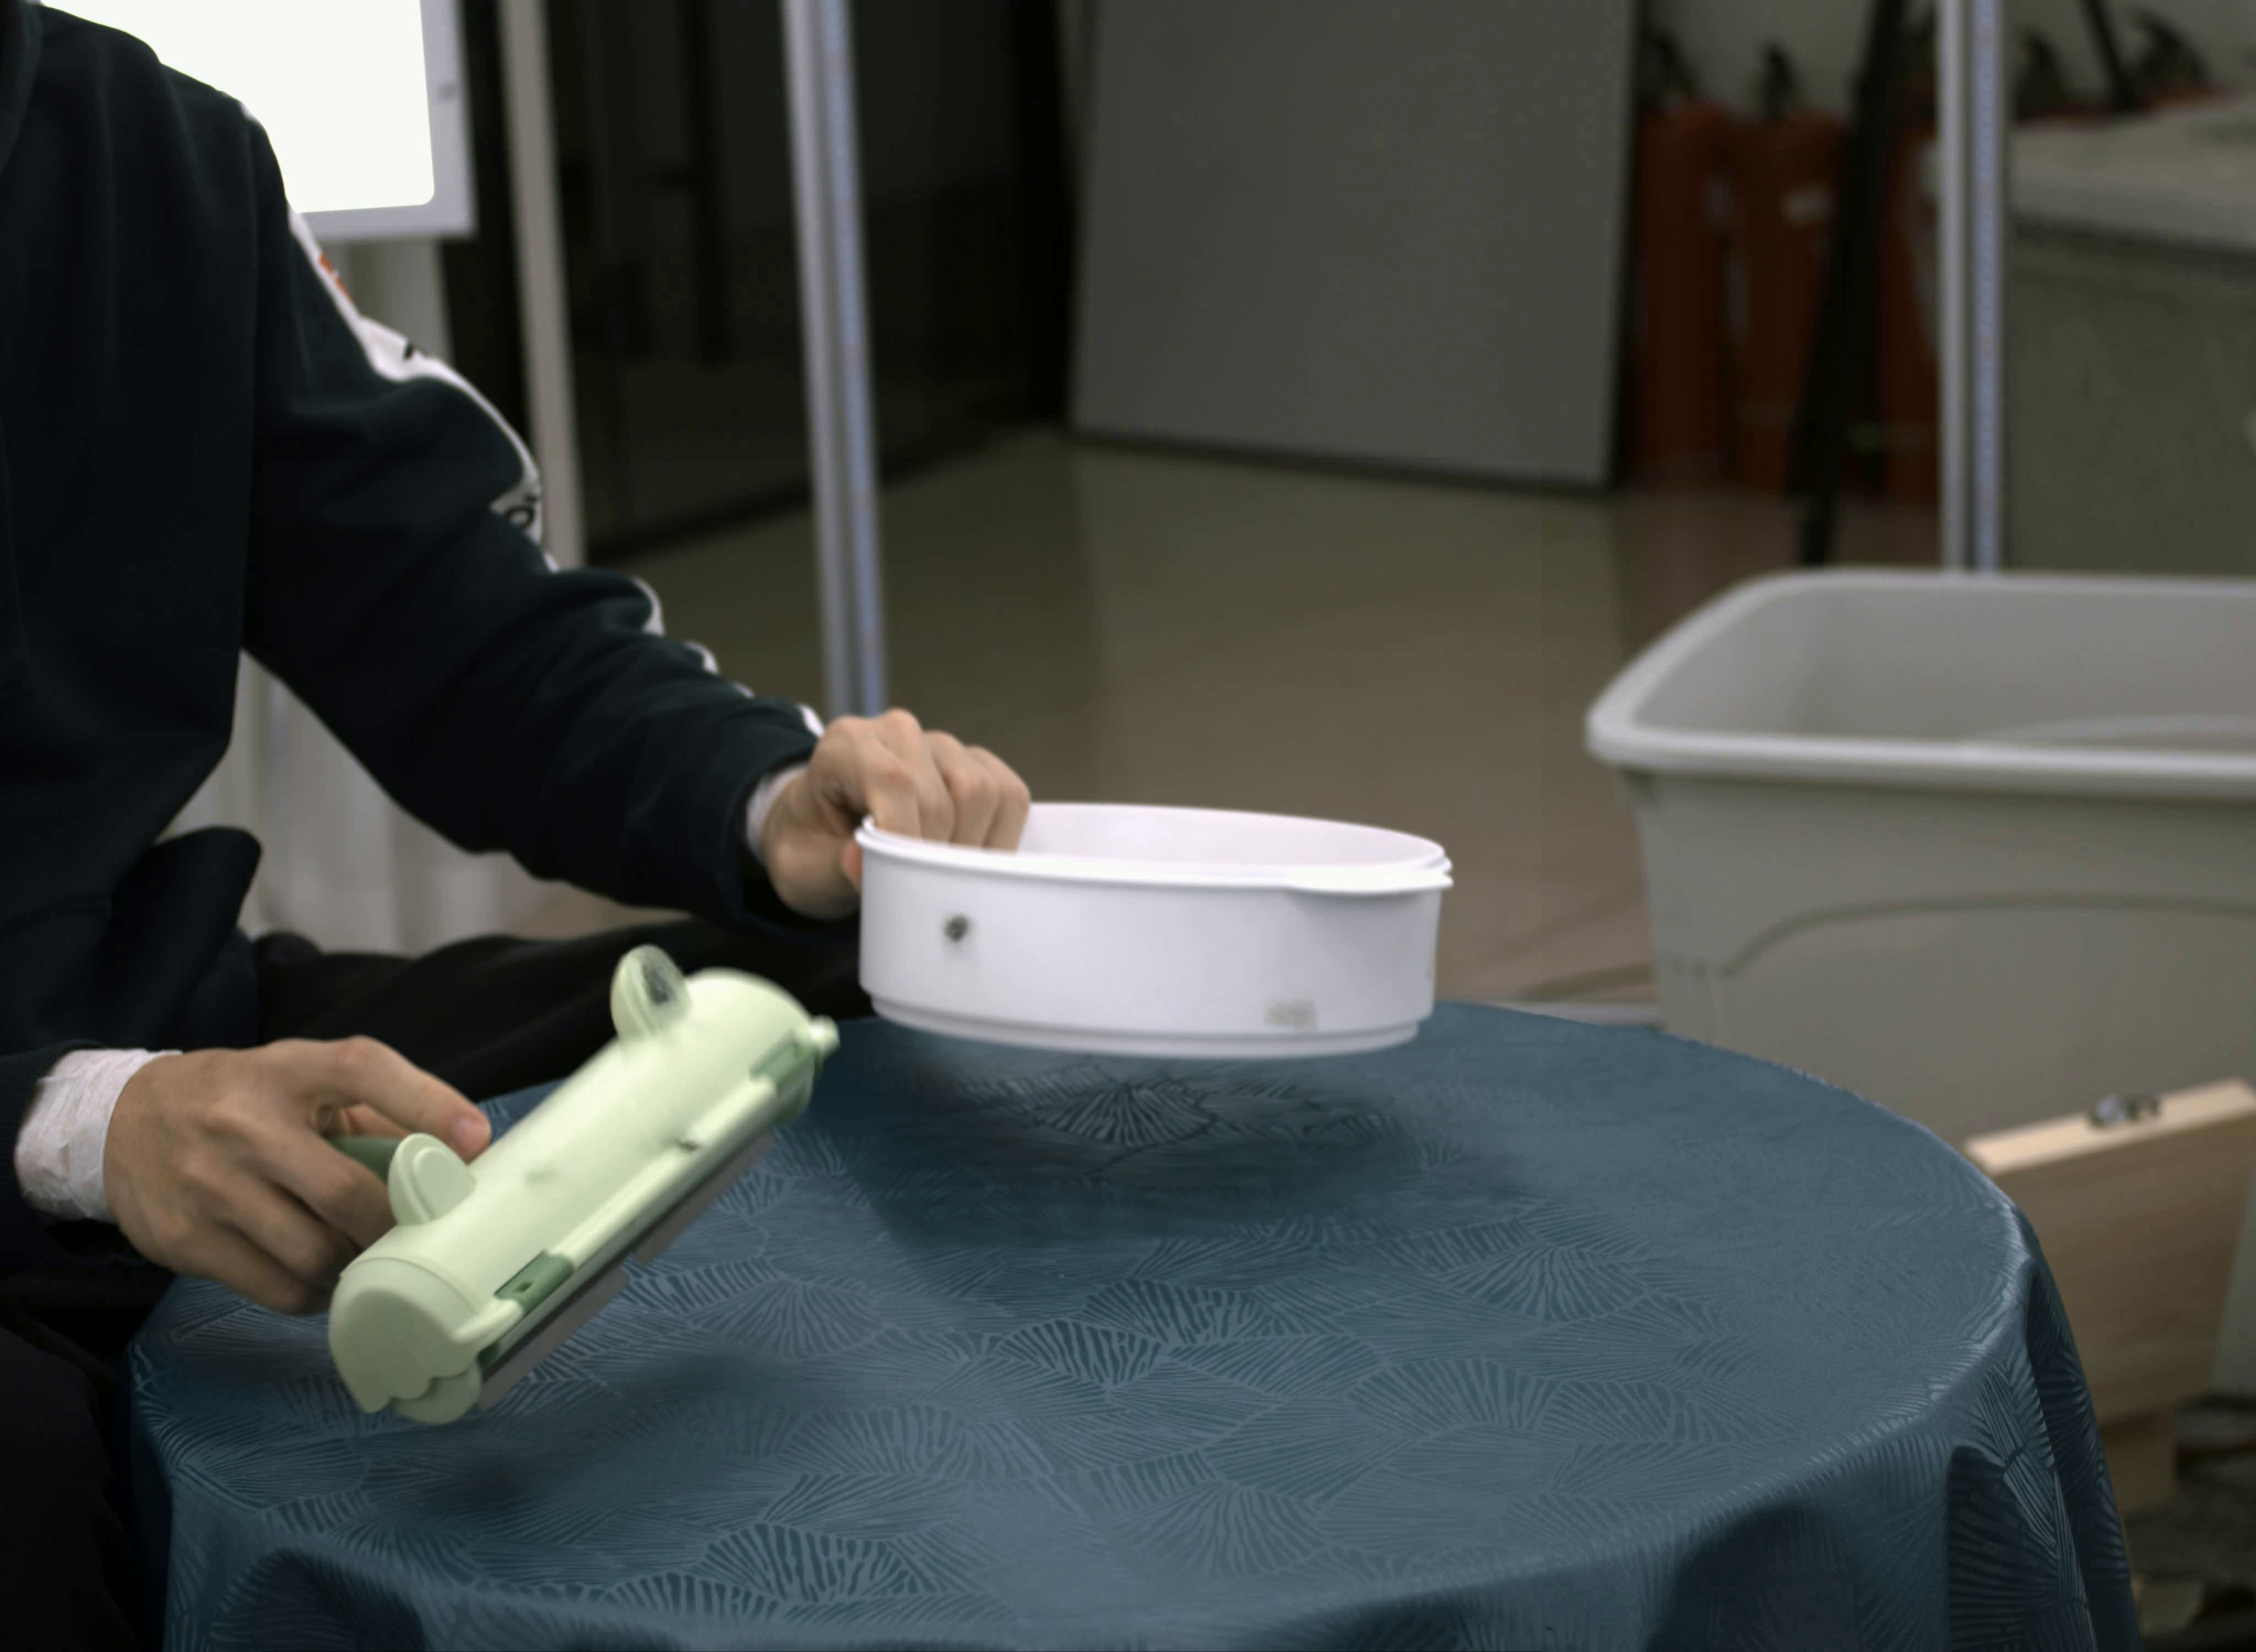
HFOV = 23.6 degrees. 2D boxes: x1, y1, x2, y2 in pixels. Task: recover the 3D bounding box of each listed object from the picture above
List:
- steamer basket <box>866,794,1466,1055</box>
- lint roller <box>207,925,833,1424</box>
[{"bbox_3d":[0.010,0.033,1.799,0.232,0.070,0.197,9,8,43],"label":"steamer basket"},{"bbox_3d":[-0.208,0.091,1.610,0.184,0.082,0.196,5,31,30],"label":"lint roller"}]
